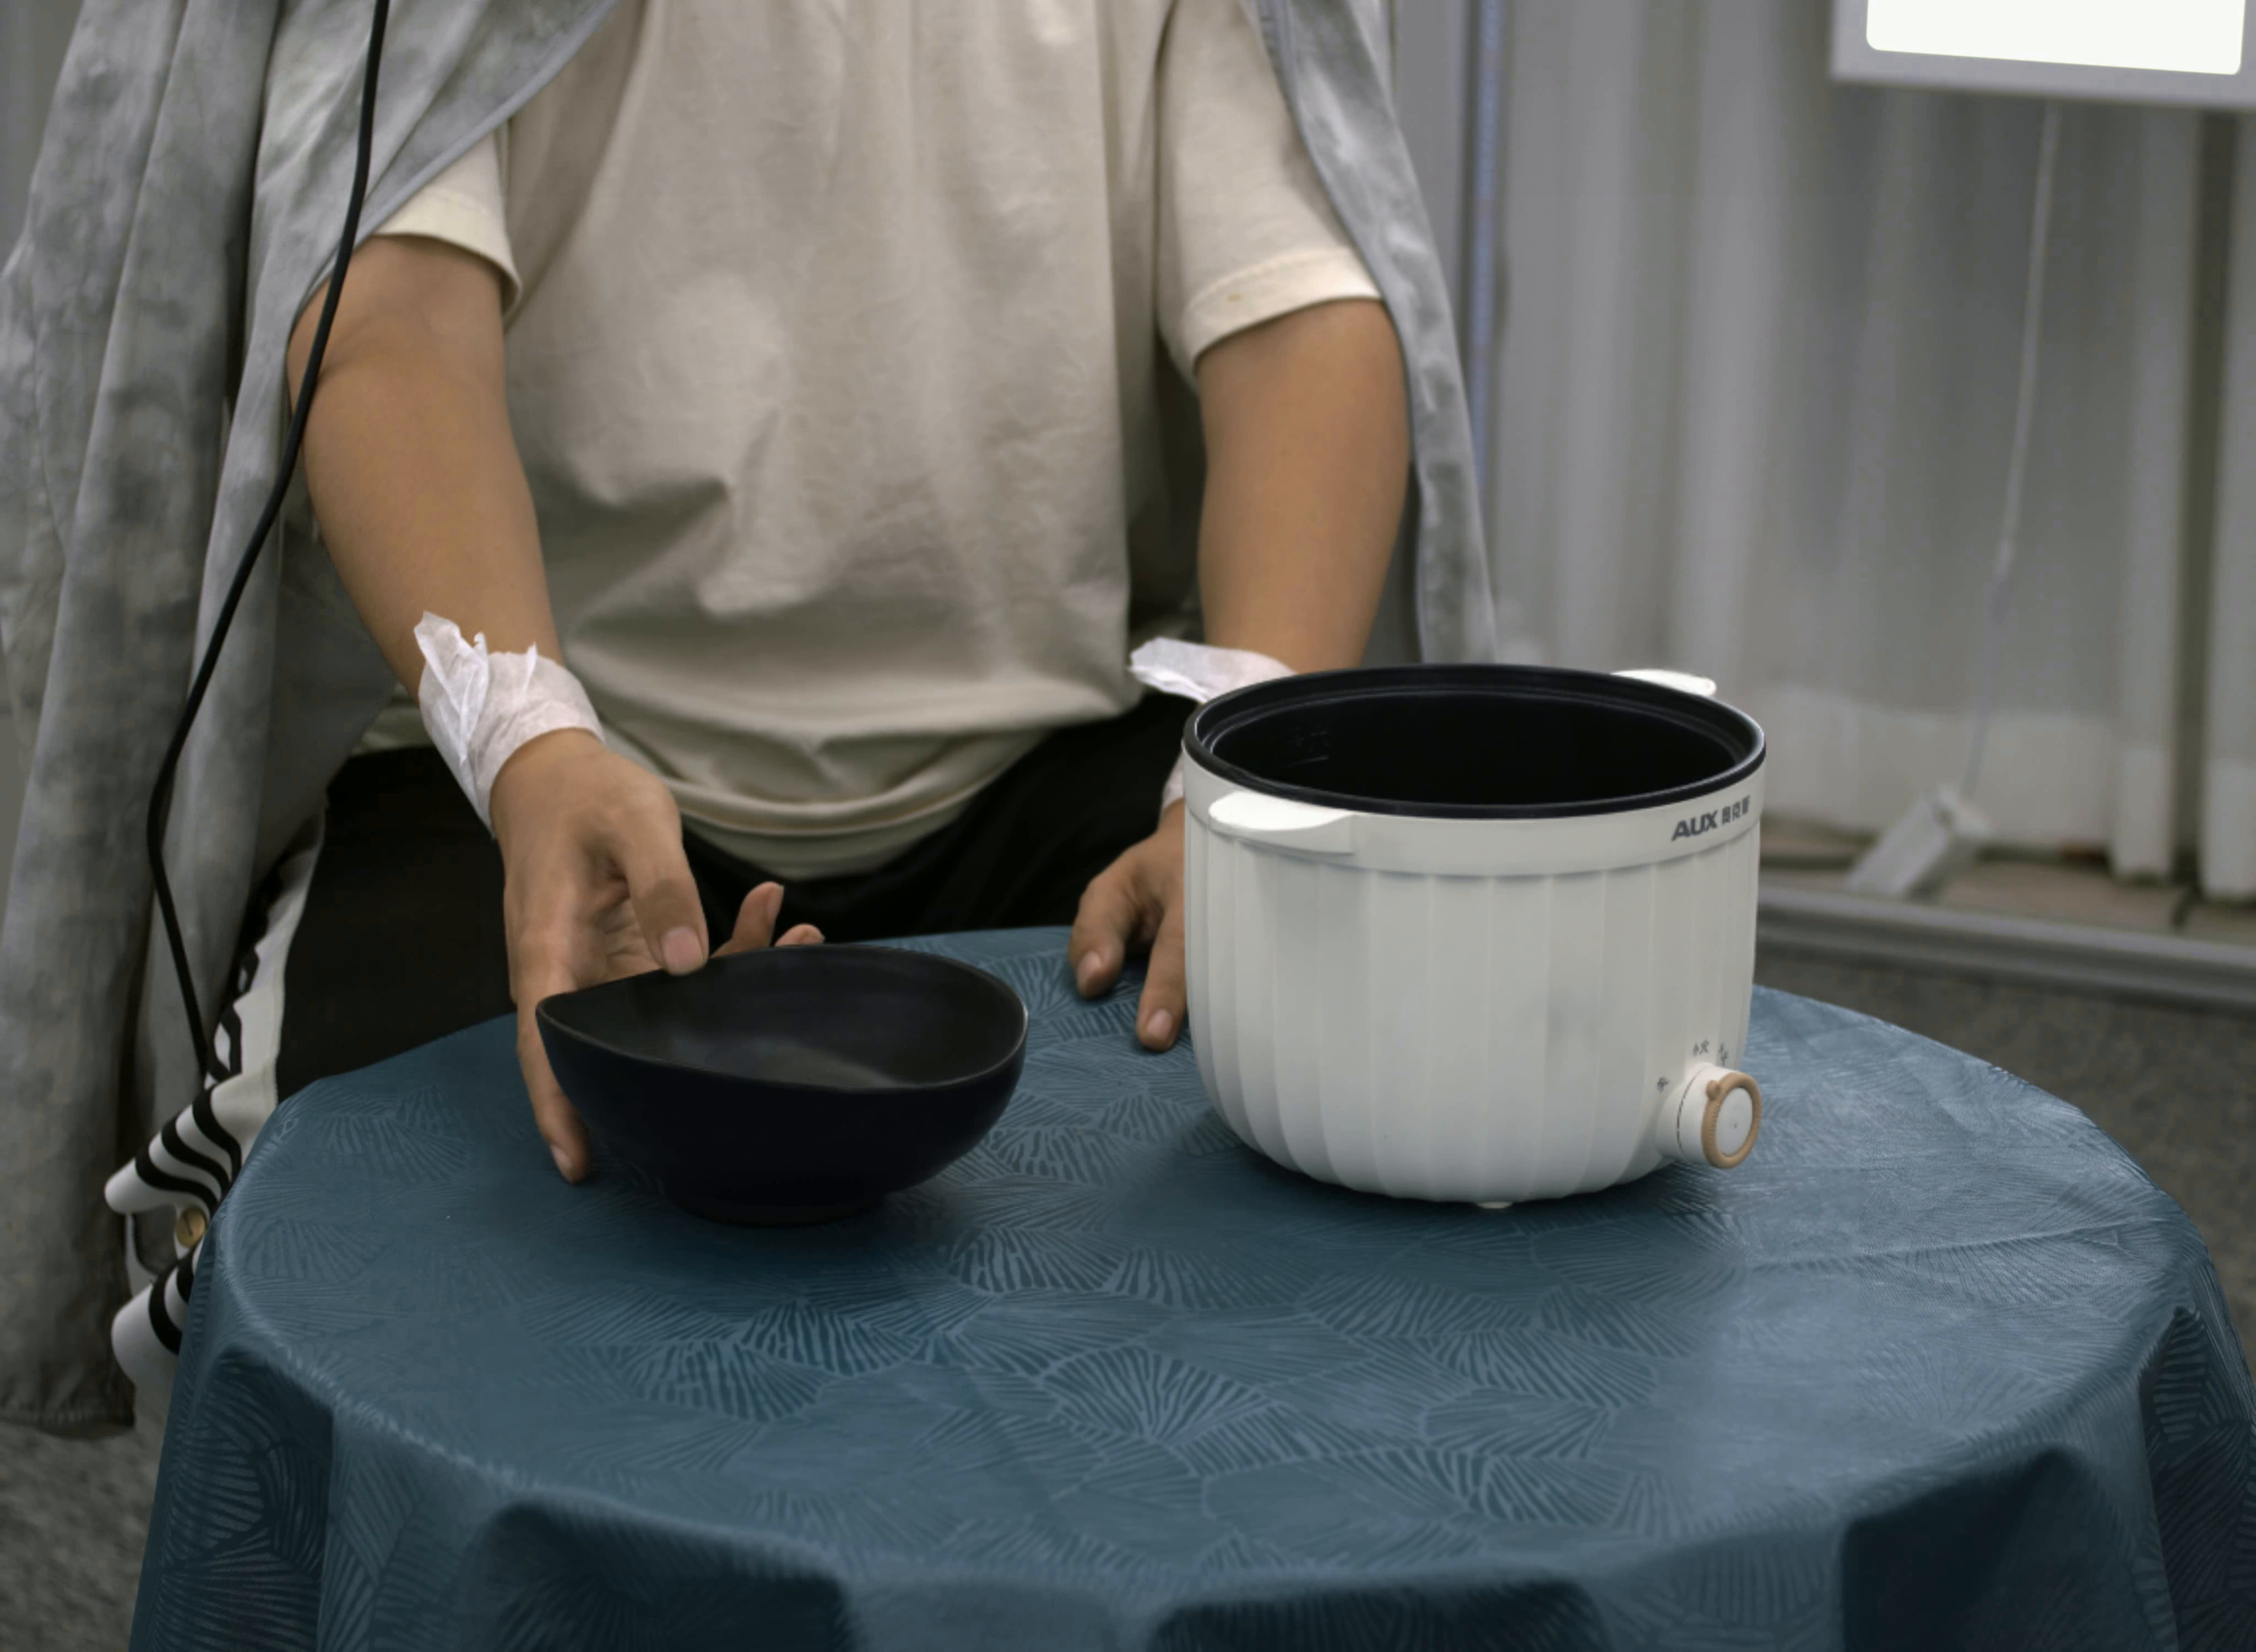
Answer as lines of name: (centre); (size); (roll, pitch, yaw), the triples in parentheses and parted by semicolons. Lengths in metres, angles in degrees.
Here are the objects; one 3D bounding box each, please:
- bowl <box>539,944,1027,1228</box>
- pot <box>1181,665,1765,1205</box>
bowl: (-0.107, 0.083, 1.608); (0.138, 0.067, 0.168); (-13, 20, -43)
pot: (0.112, 0.035, 1.650); (0.188, 0.144, 0.241); (8, 18, 37)
